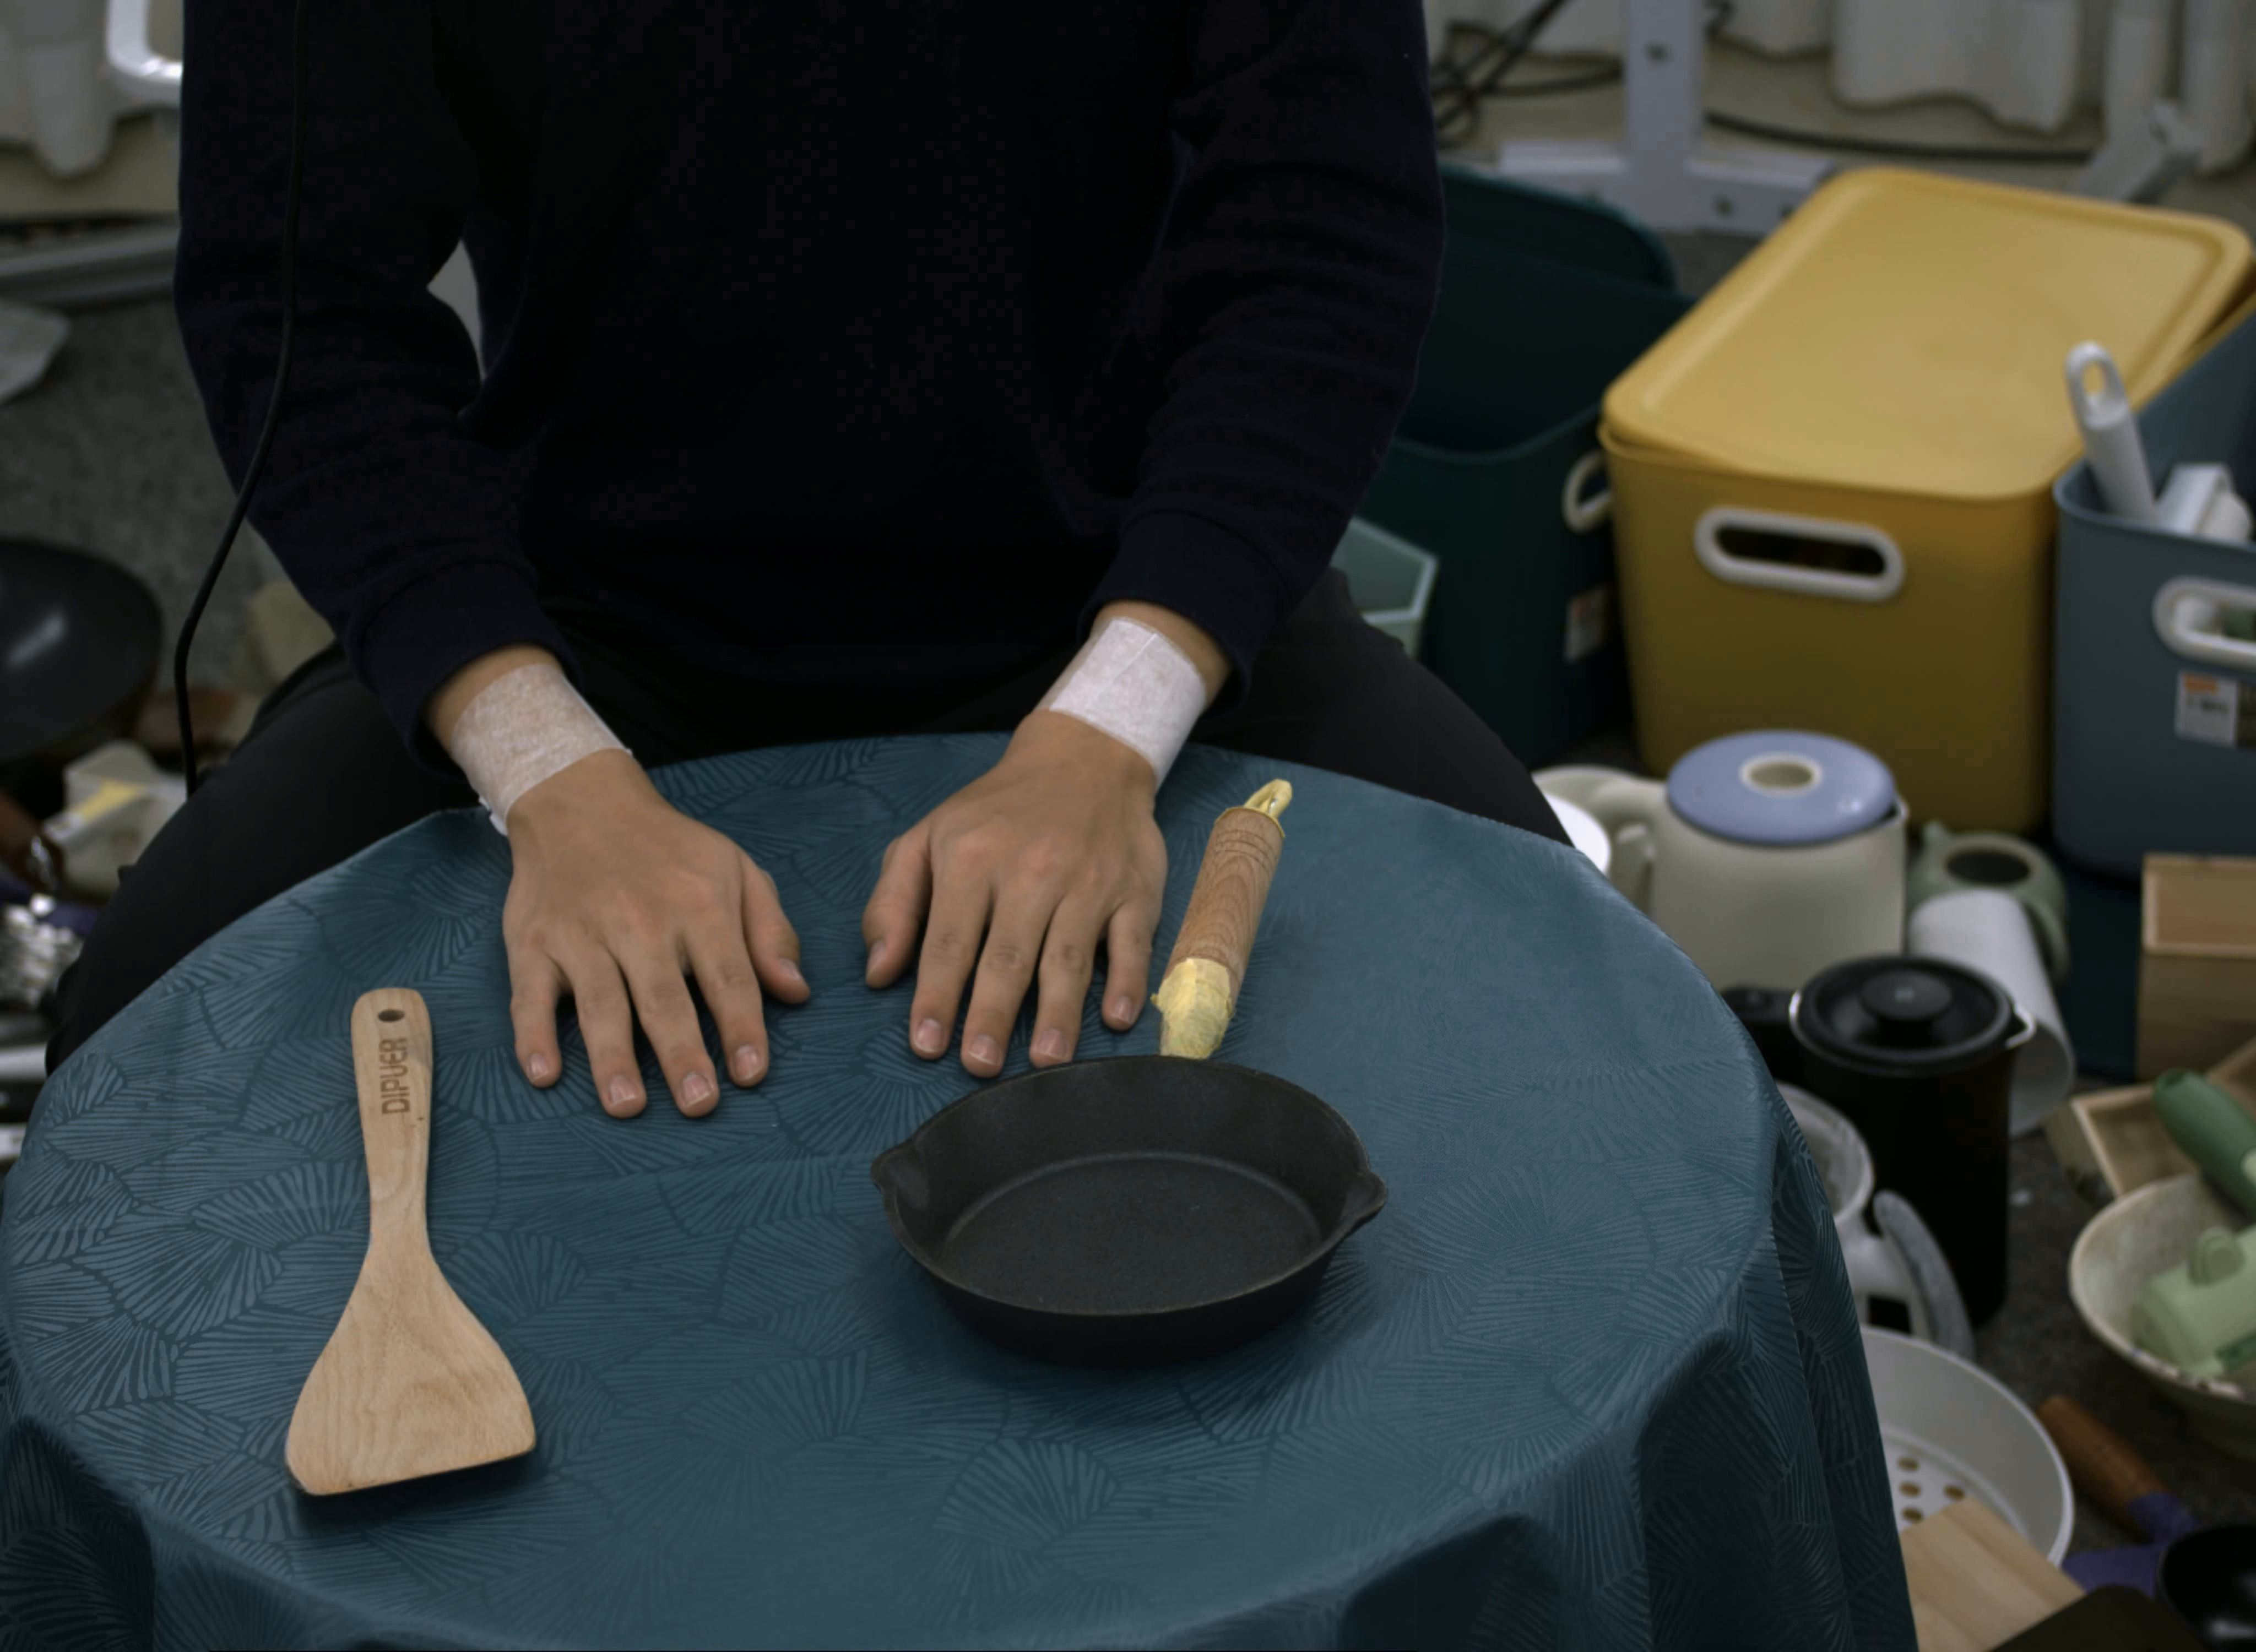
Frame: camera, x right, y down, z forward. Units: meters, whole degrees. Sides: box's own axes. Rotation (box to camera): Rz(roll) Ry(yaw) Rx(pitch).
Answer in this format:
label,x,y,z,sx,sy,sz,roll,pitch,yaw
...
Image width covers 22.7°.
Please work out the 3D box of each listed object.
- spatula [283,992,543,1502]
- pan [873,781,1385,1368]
label,x,y,z,sx,sy,sz,roll,pitch,yaw
spatula,-0.239,0.132,1.848,0.080,0.016,0.332,-5,28,-6
pan,0.019,0.080,1.886,0.168,0.049,0.330,4,30,13
